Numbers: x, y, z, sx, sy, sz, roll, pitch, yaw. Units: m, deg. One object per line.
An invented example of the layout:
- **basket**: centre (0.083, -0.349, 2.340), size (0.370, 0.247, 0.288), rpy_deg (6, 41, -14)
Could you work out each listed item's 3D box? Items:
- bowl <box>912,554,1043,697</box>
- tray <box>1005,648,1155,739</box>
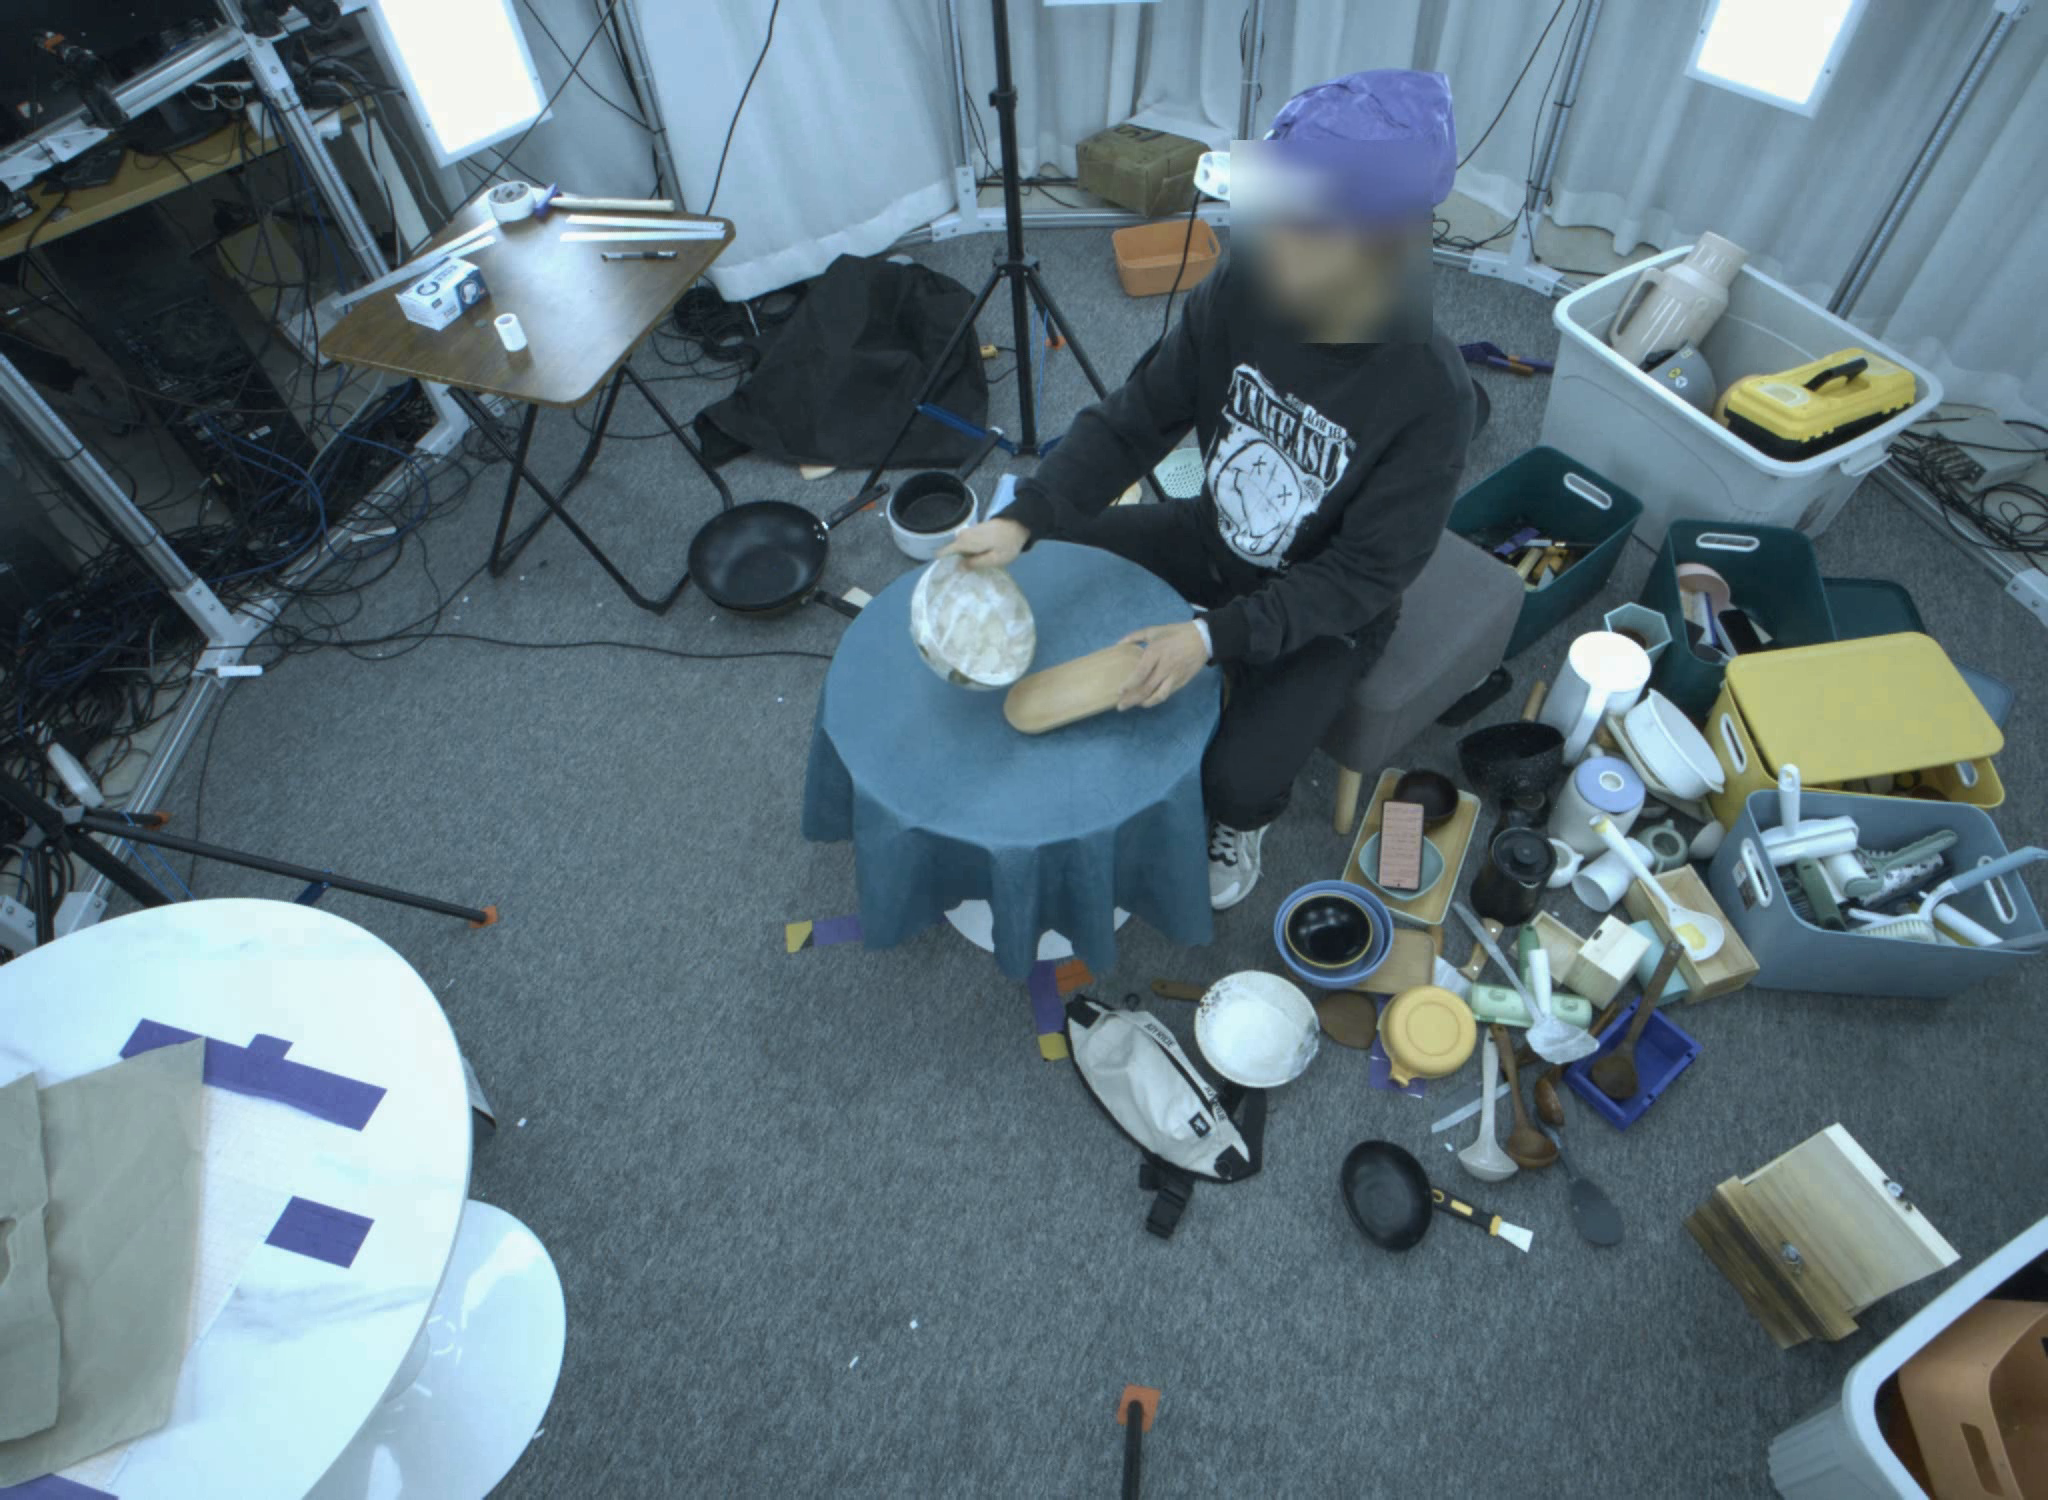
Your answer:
- **bowl**: centre (-0.081, -0.163, 1.747), size (0.219, 0.093, 0.214), rpy_deg (37, 52, -28)
- **tray**: centre (0.081, -0.082, 1.808), size (0.230, 0.021, 0.100), rpy_deg (-21, 54, 8)
